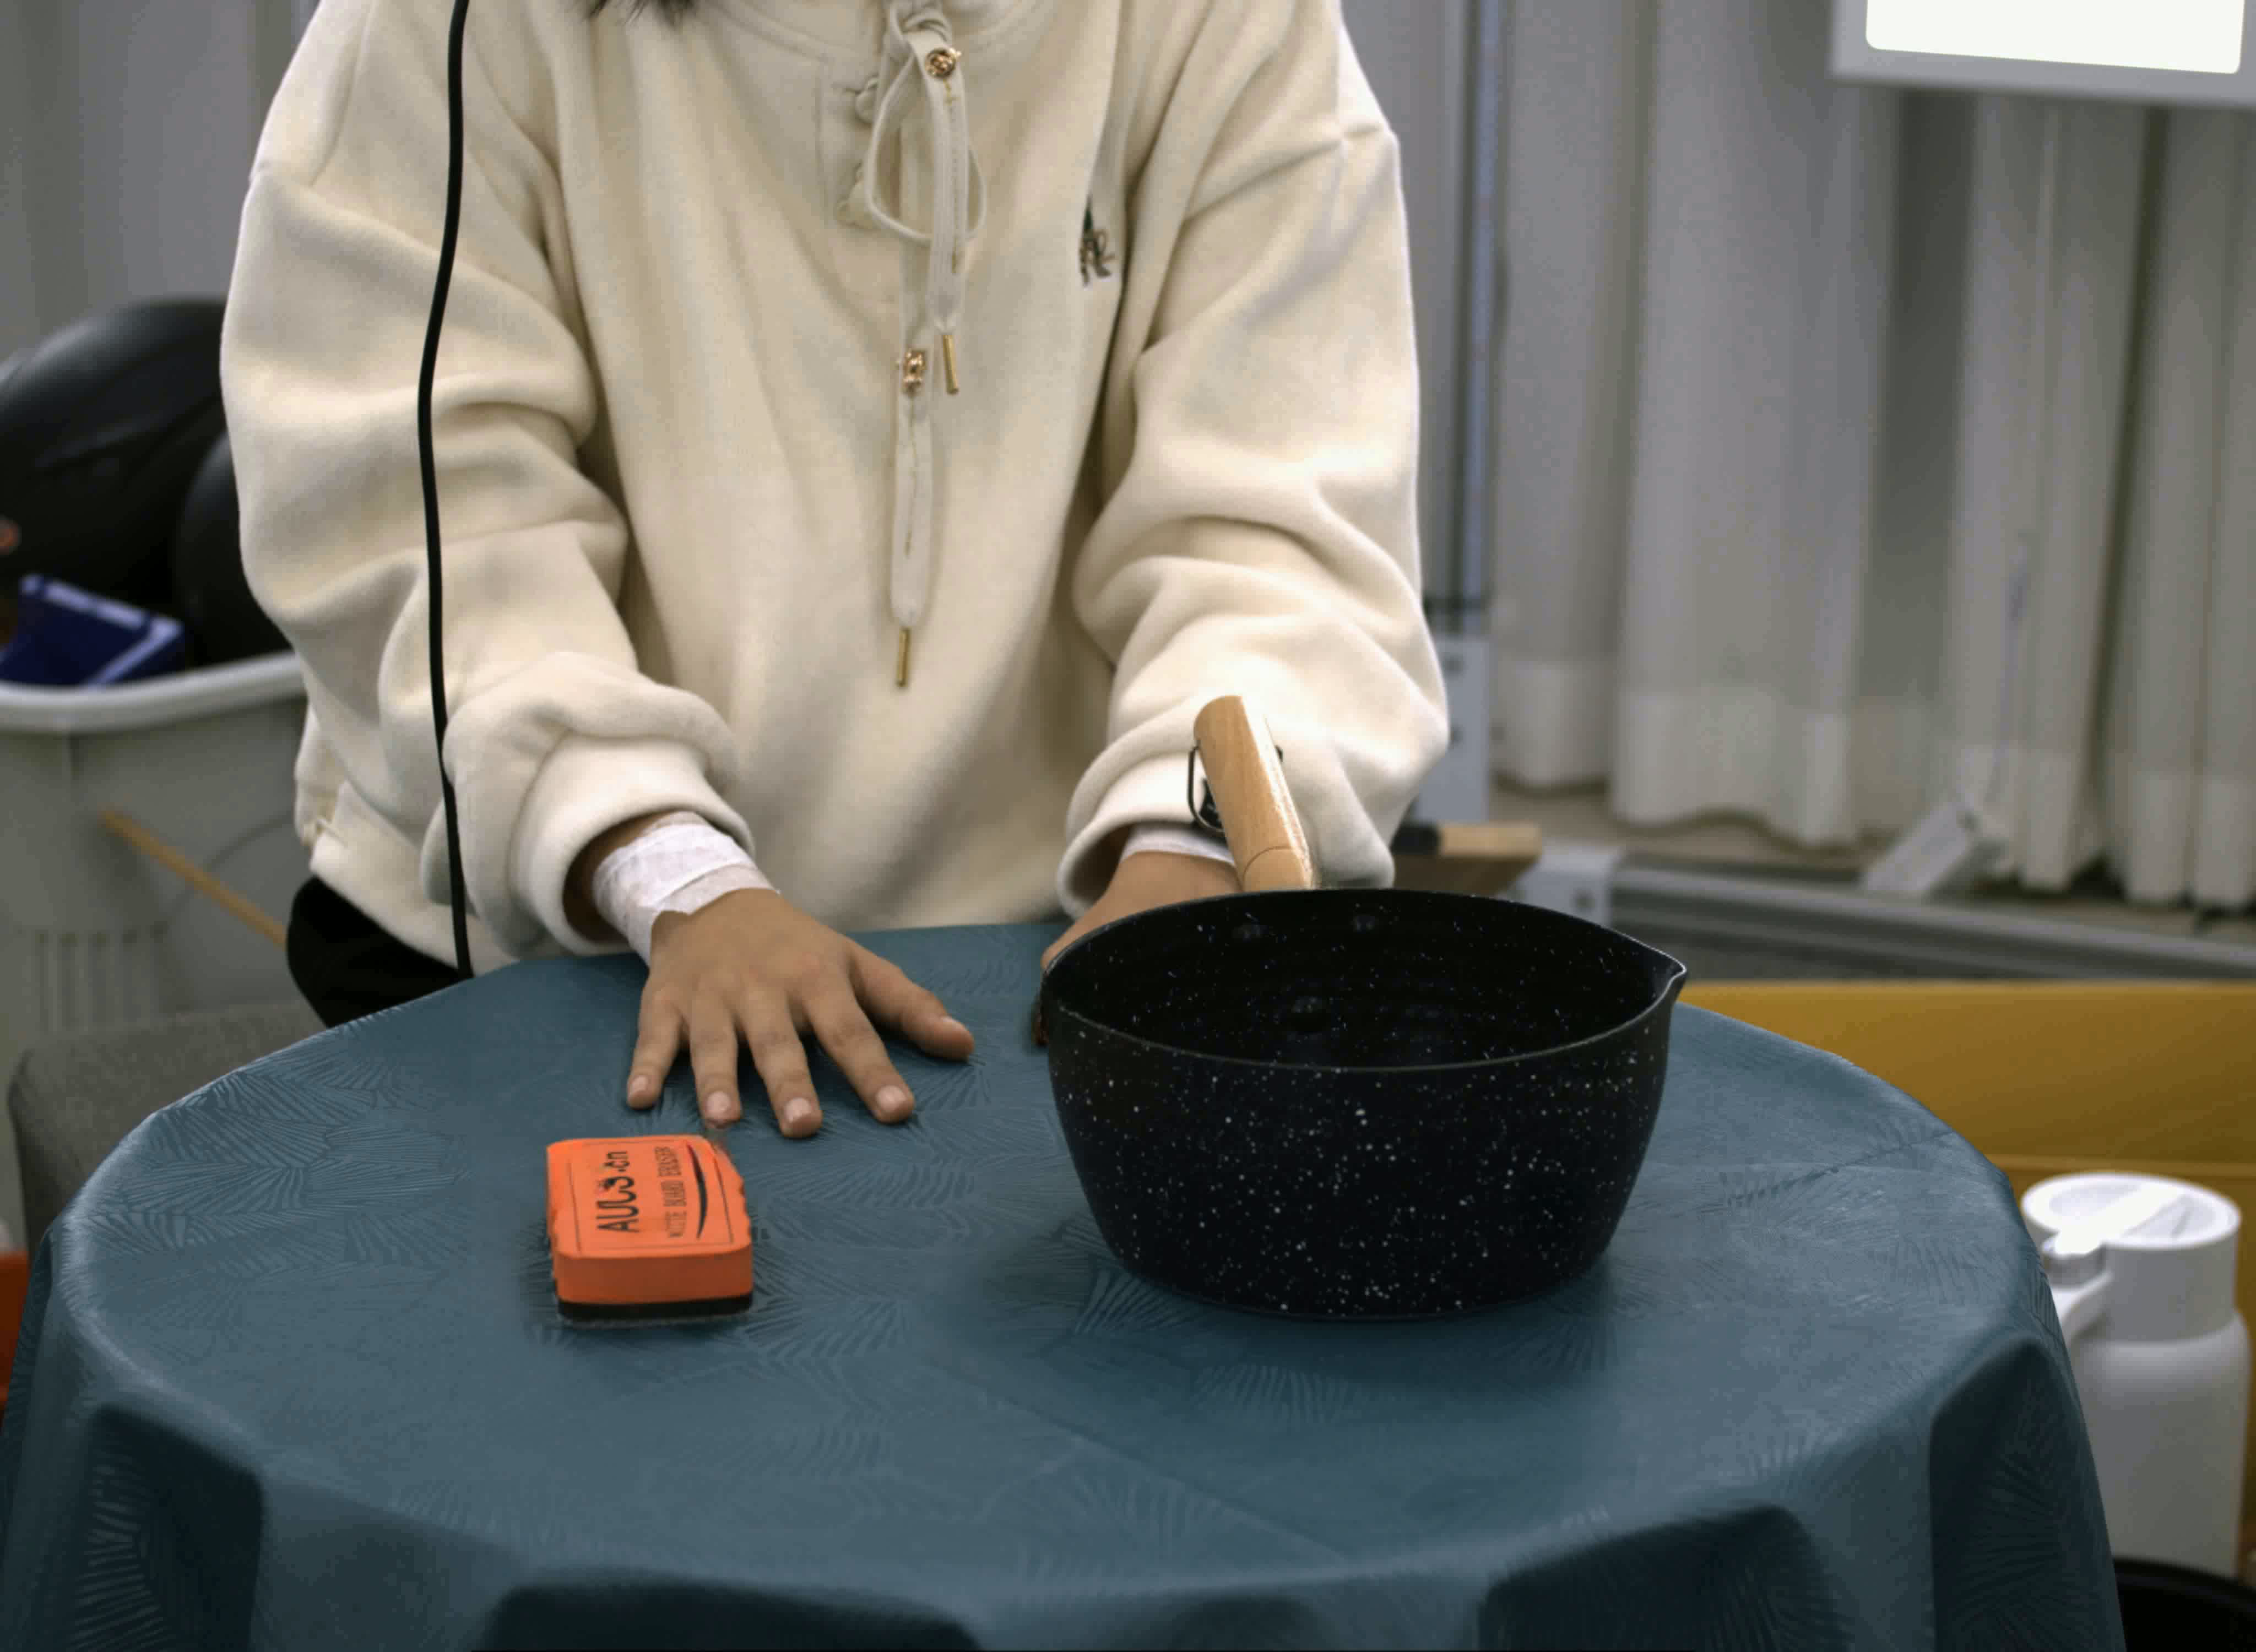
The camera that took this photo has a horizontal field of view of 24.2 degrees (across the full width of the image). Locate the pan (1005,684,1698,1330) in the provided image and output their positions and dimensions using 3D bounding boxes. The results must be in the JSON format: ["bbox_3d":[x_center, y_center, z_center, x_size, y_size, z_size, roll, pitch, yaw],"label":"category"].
[{"bbox_3d":[0.056,0.051,1.641,0.207,0.109,0.340,-3,17,-9],"label":"pan"}]

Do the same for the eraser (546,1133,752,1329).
[{"bbox_3d":[-0.142,0.118,1.550,0.059,0.023,0.107,-2,16,-6],"label":"eraser"}]
